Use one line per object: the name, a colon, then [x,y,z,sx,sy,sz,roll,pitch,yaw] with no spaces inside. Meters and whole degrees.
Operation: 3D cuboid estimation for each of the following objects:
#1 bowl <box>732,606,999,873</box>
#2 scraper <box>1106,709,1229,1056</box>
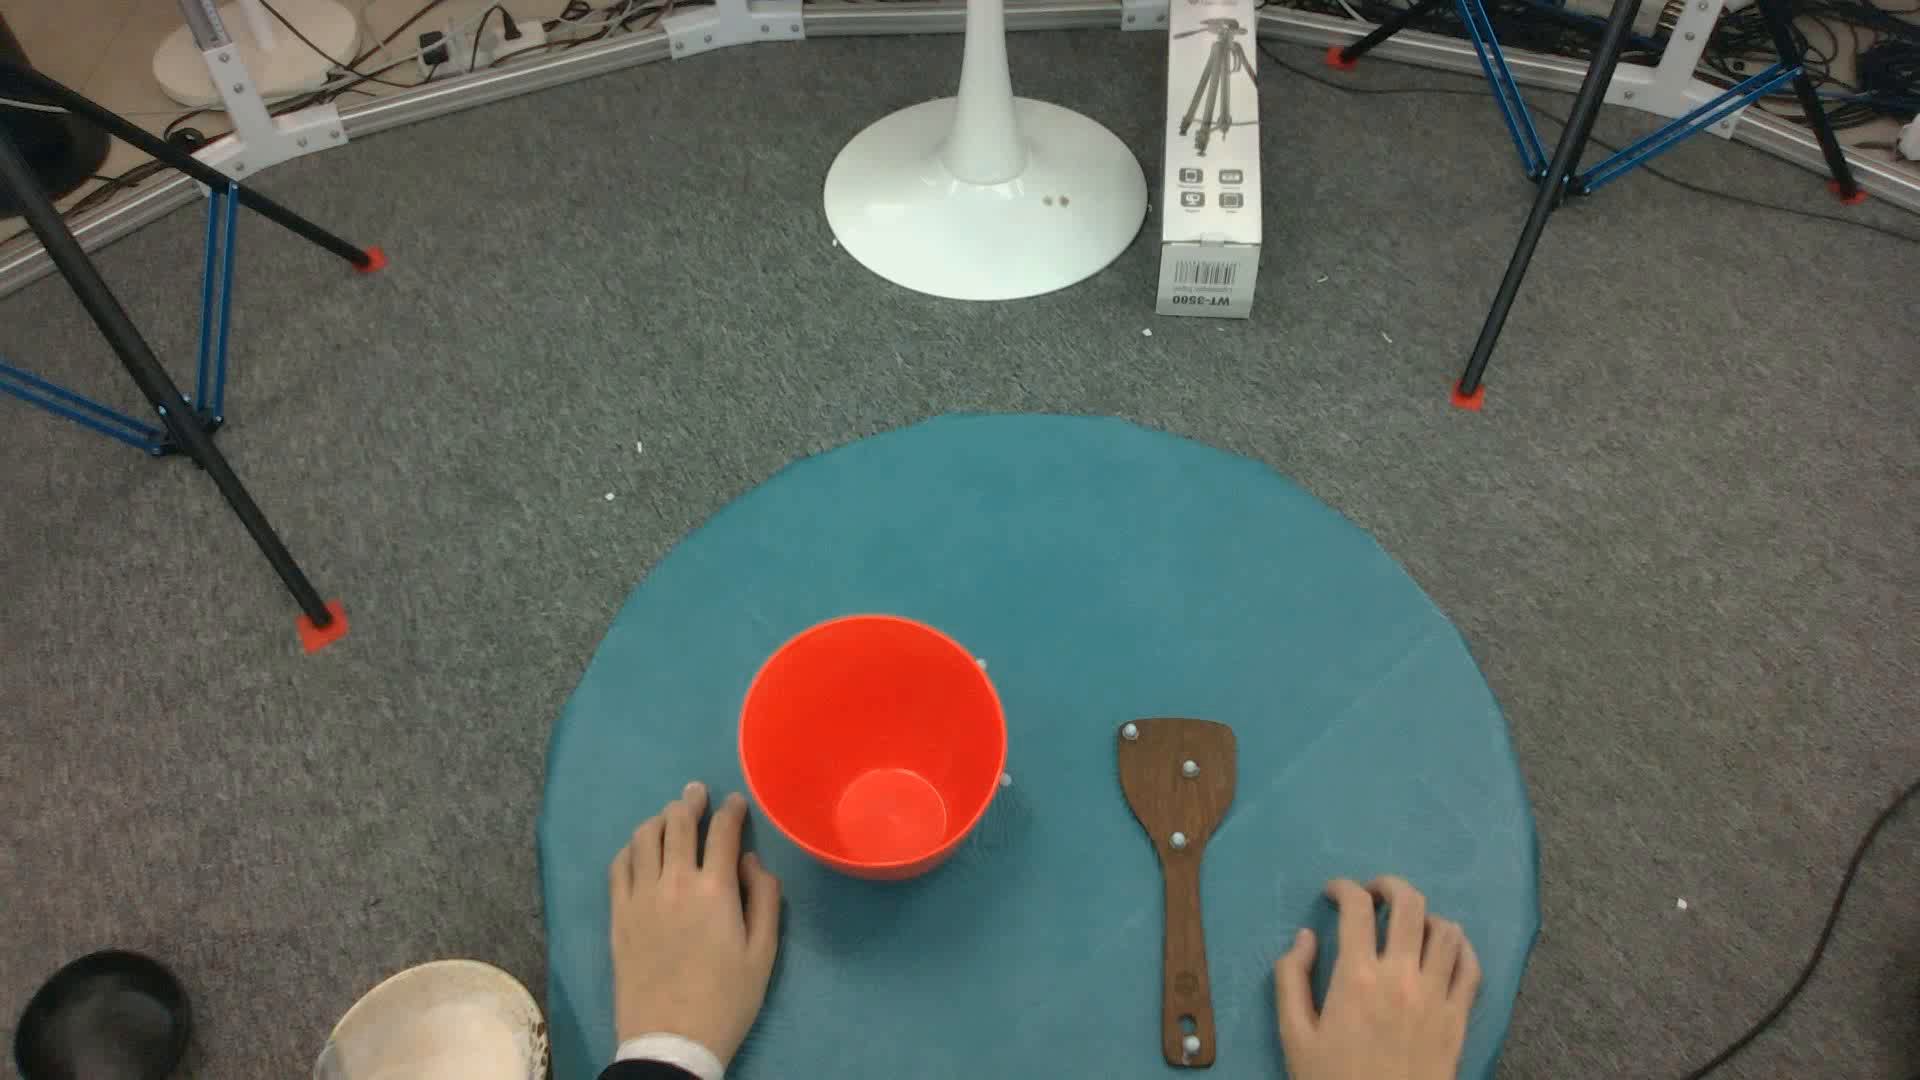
bowl: [-0.052,0.126,0.792,0.148,0.104,0.148,2,52,-2]
scraper: [0.123,0.192,0.799,0.076,0.011,0.212,2,52,2]
